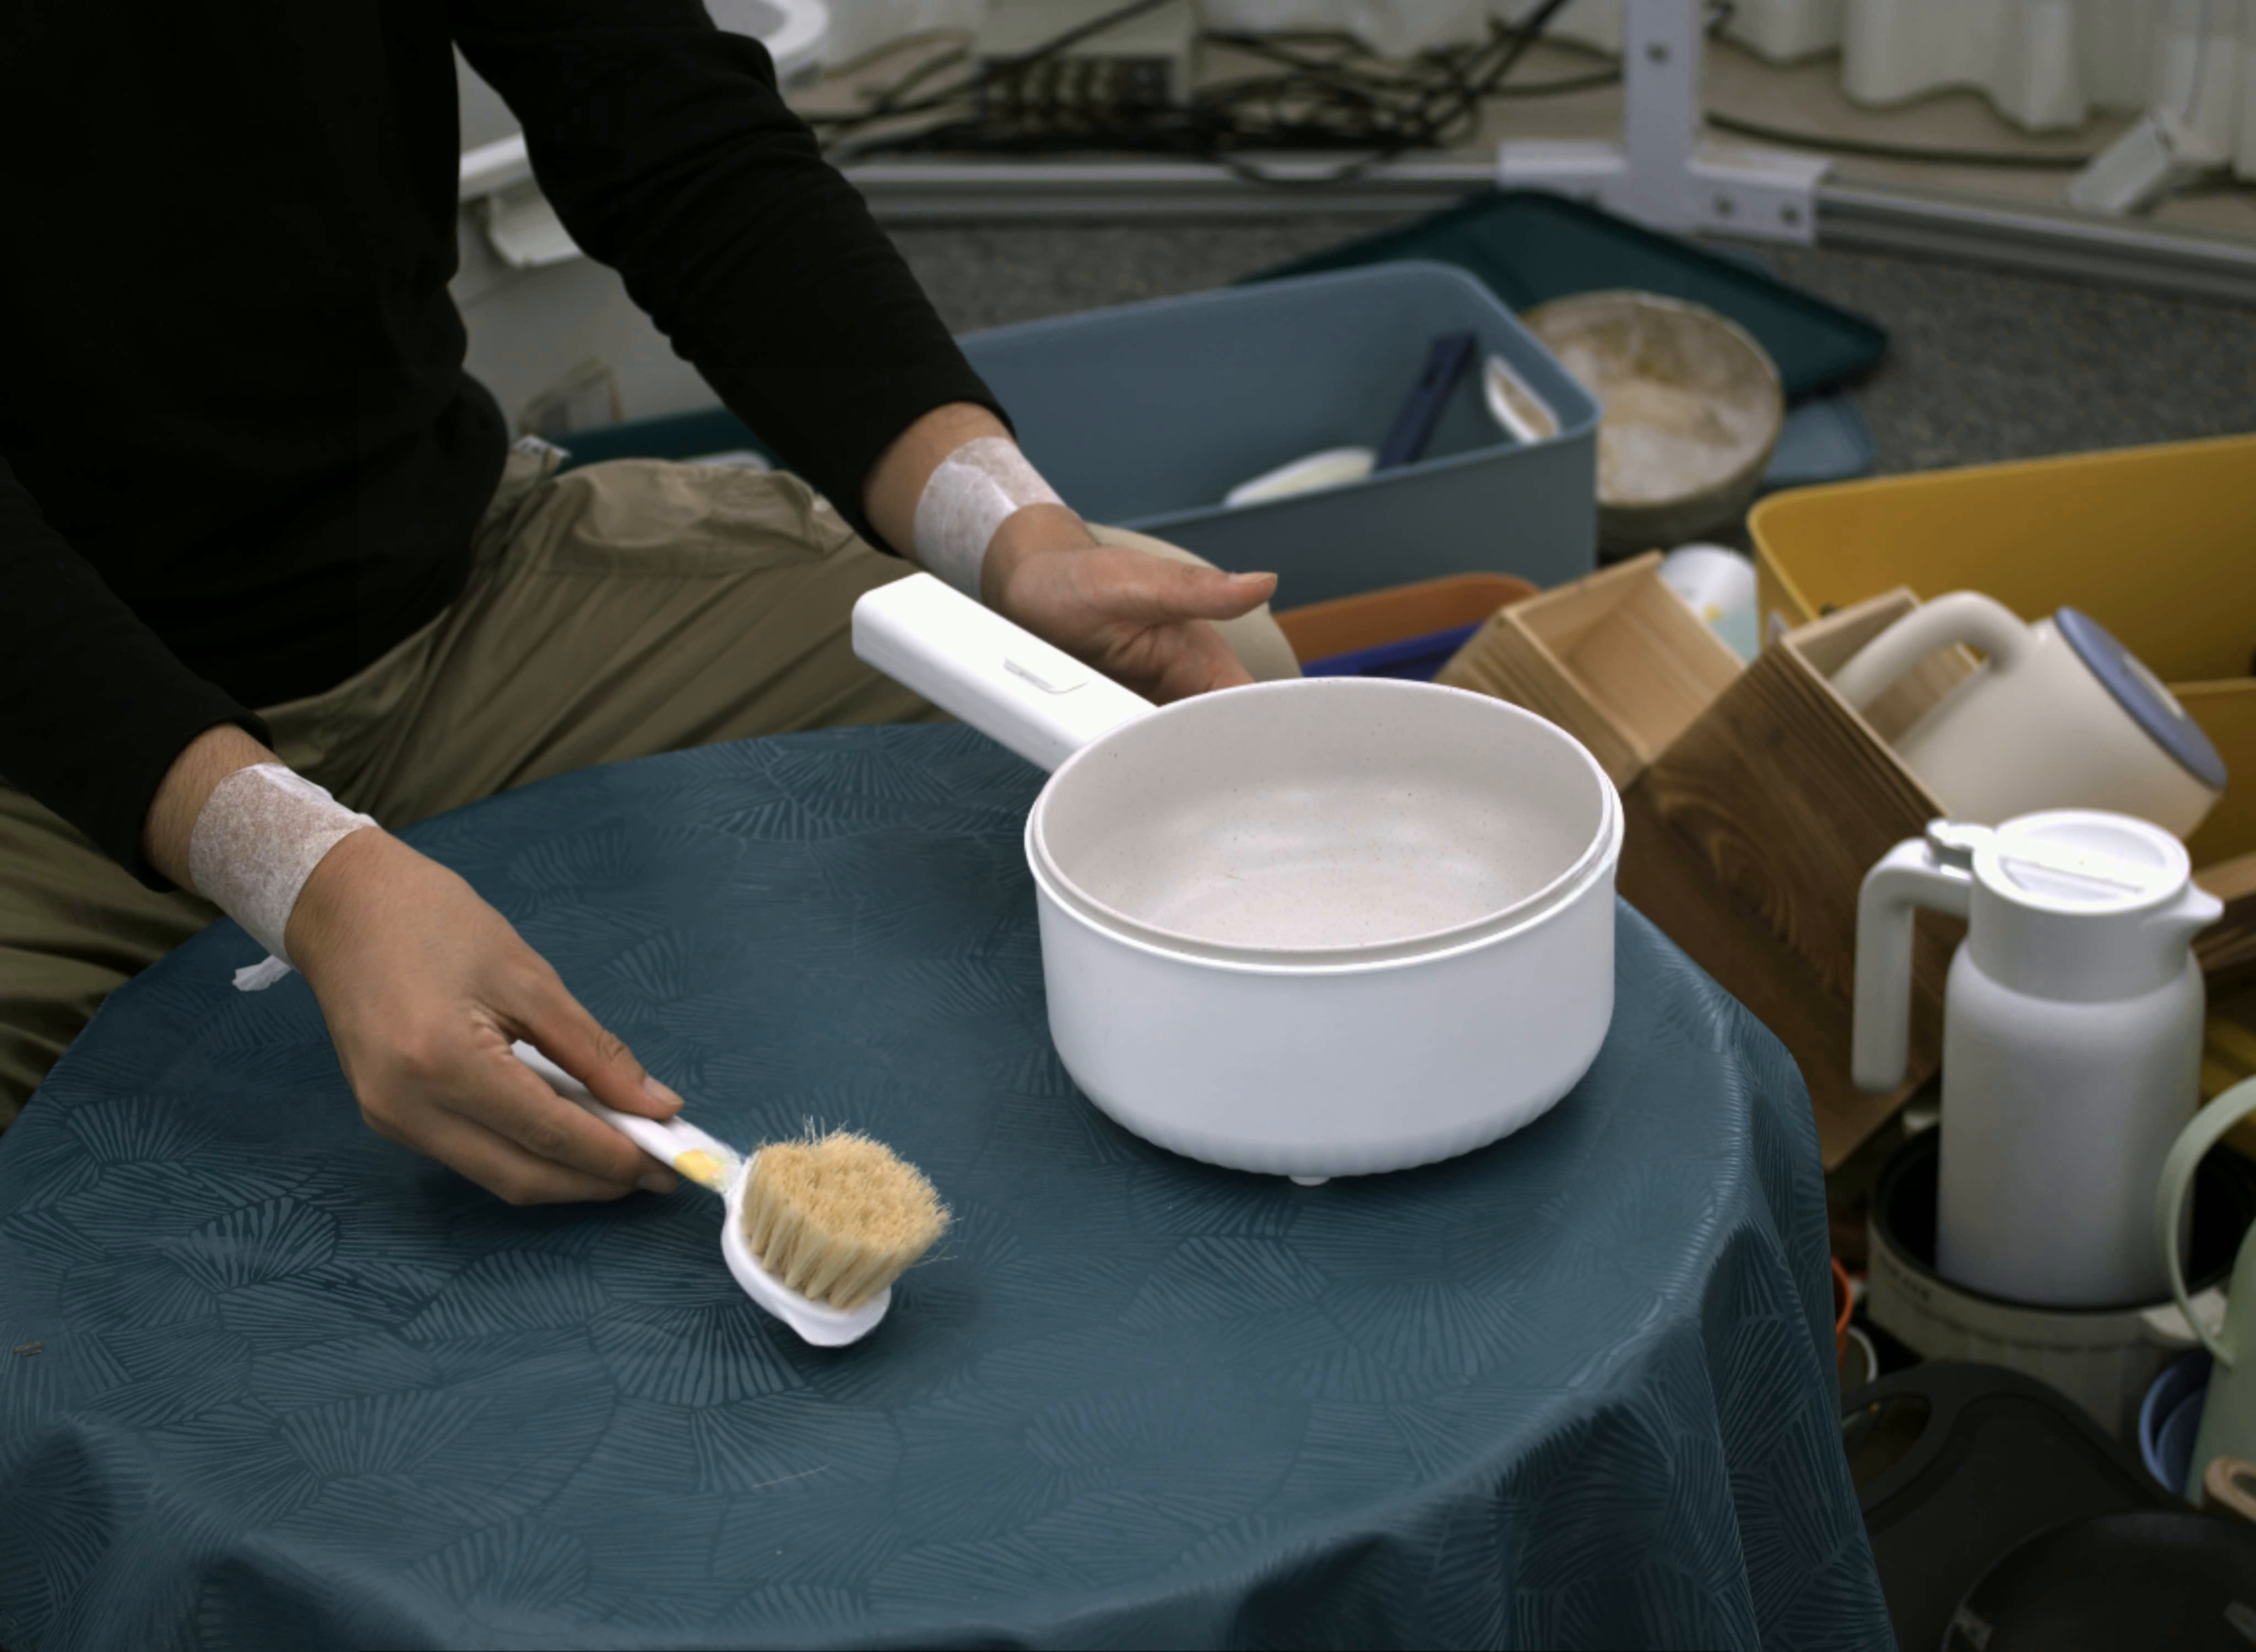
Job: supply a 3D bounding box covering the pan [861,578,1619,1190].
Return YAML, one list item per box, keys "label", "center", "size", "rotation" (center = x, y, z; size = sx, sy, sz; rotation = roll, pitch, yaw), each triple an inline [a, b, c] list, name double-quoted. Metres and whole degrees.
- label: "pan"
  center: [0.022, 0.014, 1.965]
  size: [0.203, 0.101, 0.355]
  rotation: [-22, 32, -31]

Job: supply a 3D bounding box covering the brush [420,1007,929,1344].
- label: "brush"
  center: [-0.157, 0.092, 1.857]
  size: [0.068, 0.056, 0.267]
  rotation: [16, 10, -40]
